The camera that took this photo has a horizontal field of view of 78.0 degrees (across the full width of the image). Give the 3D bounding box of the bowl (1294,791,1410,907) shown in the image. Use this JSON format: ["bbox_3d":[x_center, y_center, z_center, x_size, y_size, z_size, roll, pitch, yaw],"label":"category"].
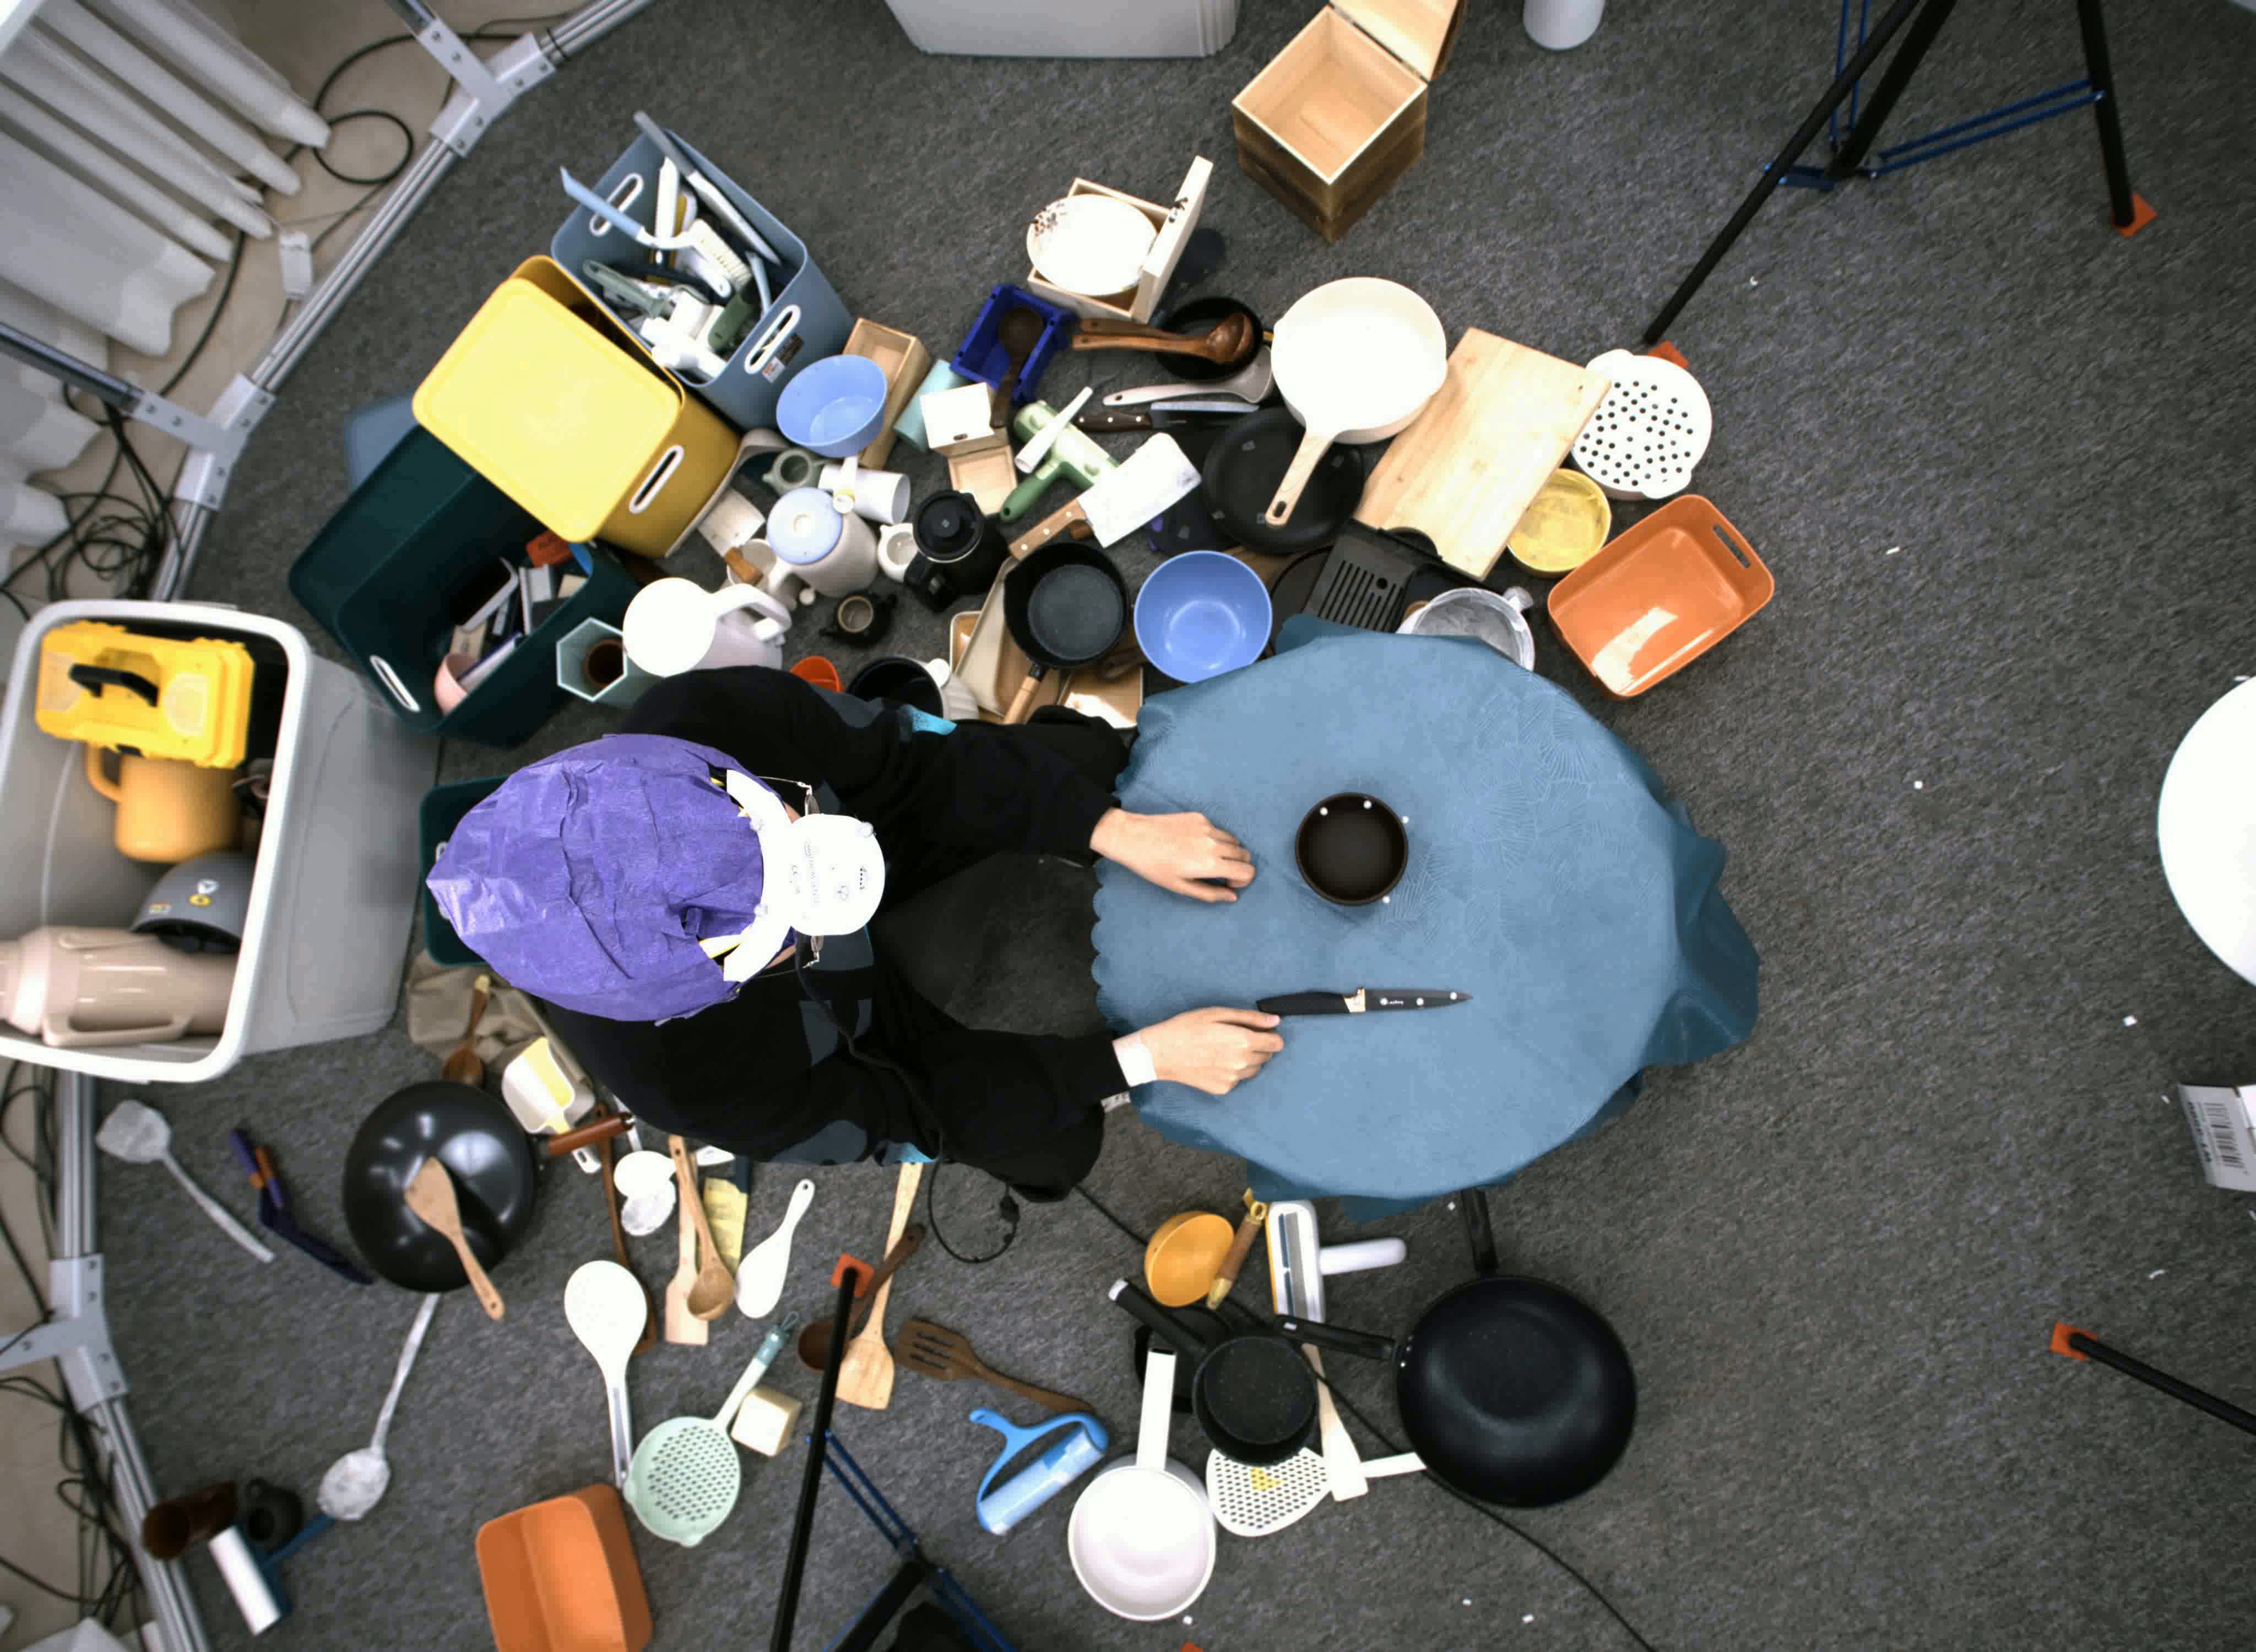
[{"bbox_3d":[0.233,0.025,1.431,0.118,0.070,0.117,-1,85,12],"label":"bowl"}]

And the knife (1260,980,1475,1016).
[{"bbox_3d":[0.251,0.179,1.452,0.226,0.017,0.026,-6,78,9],"label":"knife"}]
